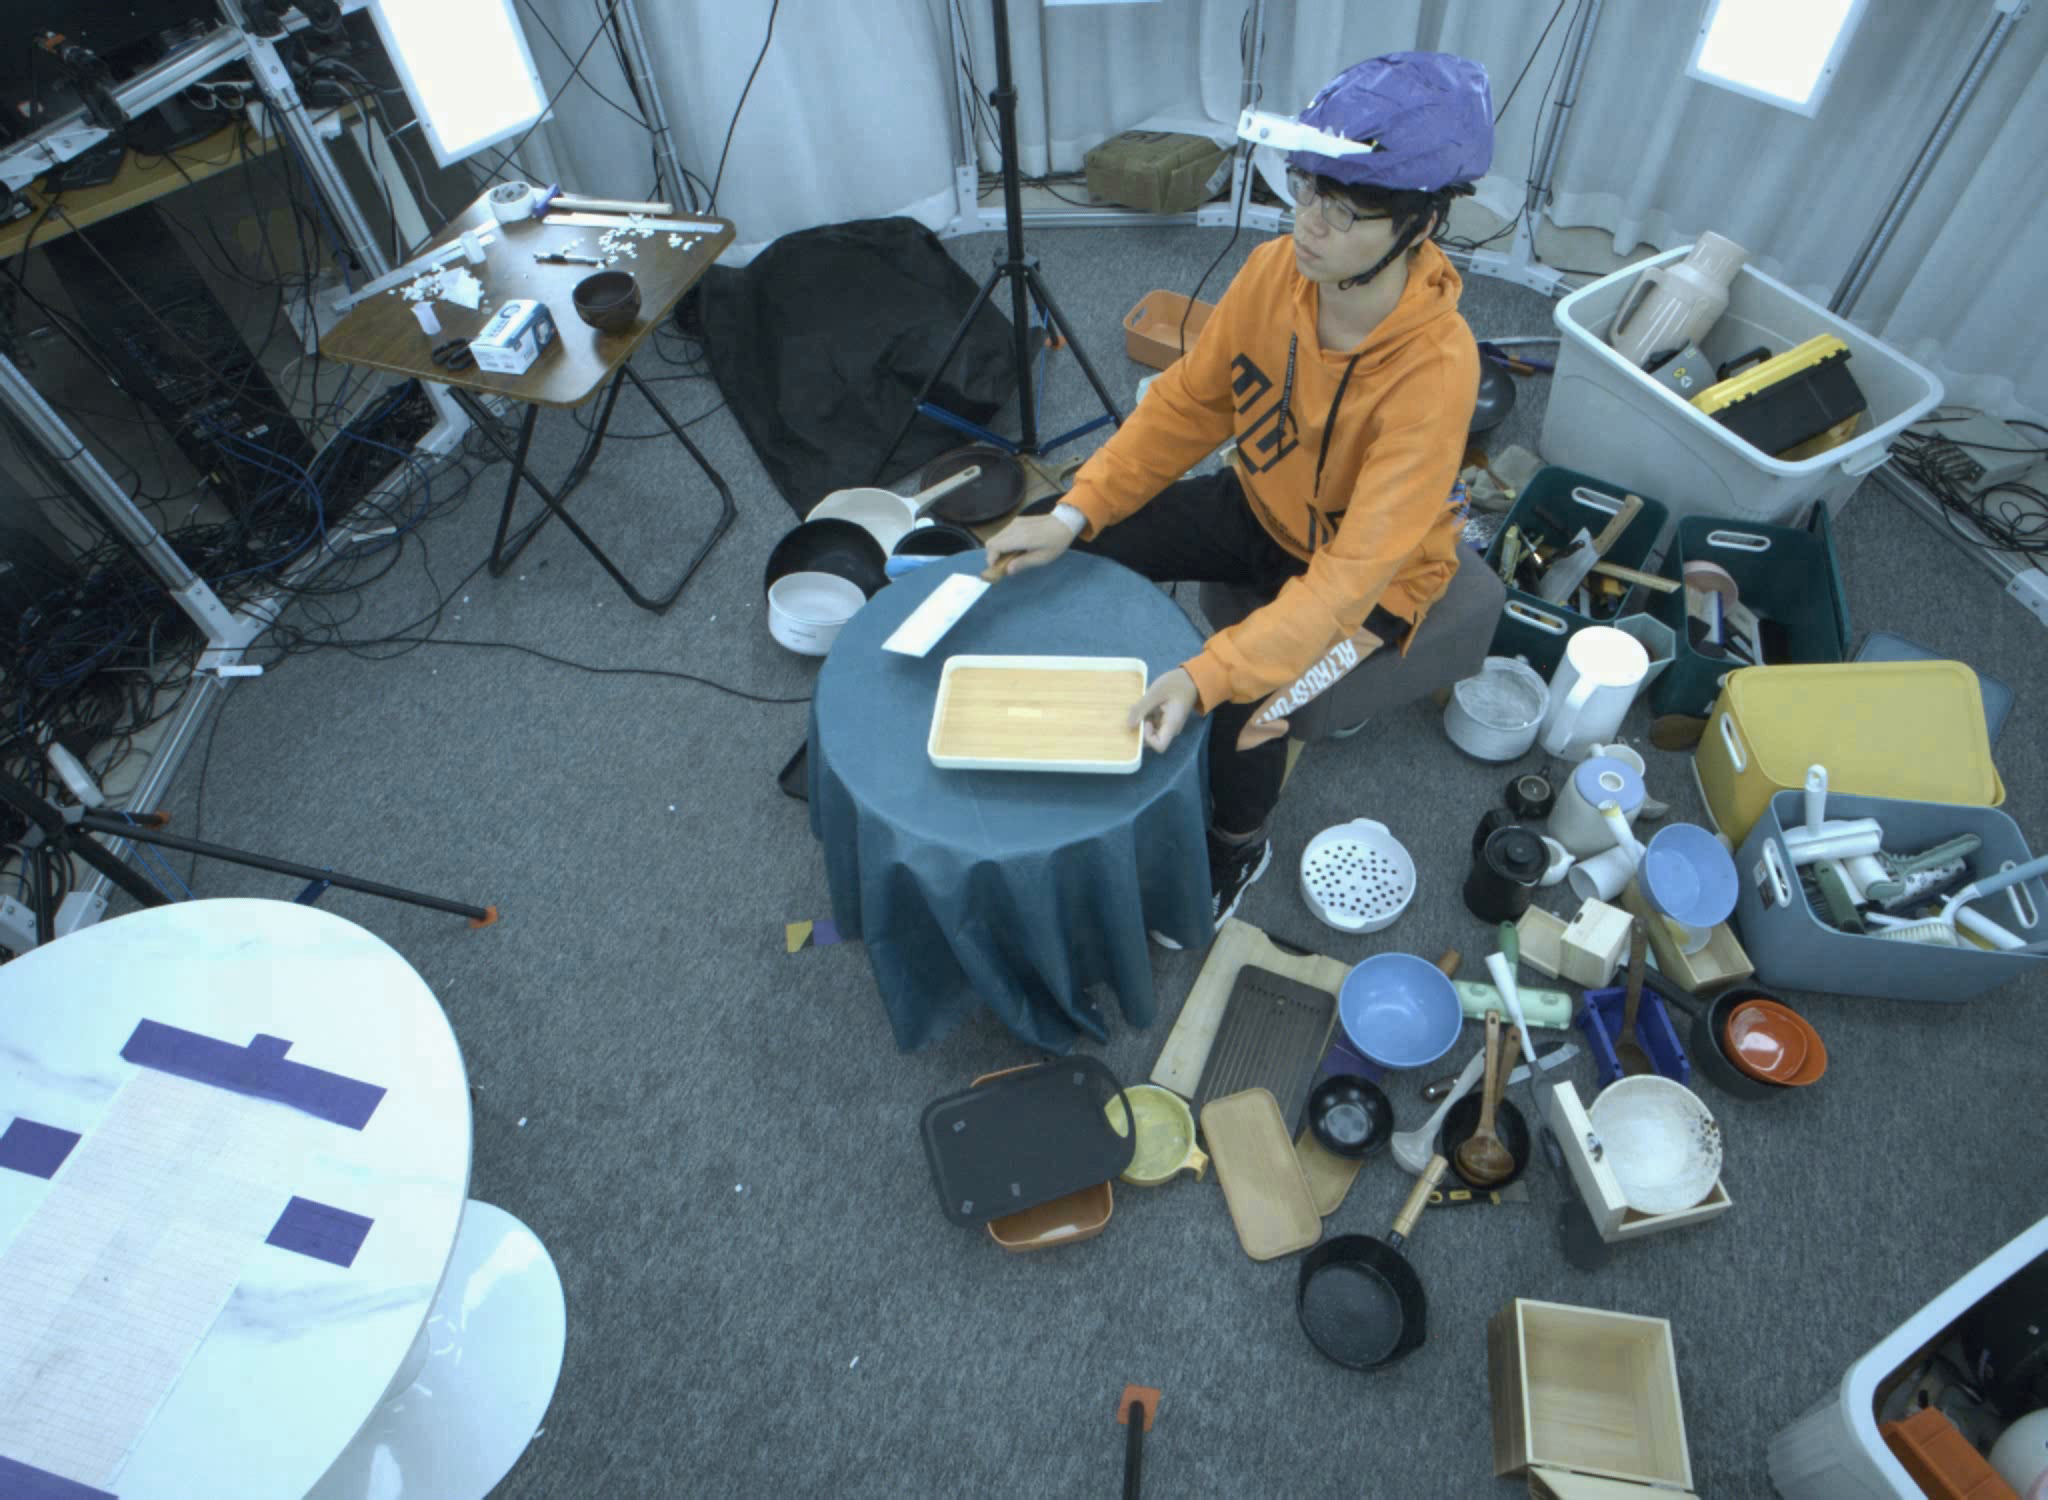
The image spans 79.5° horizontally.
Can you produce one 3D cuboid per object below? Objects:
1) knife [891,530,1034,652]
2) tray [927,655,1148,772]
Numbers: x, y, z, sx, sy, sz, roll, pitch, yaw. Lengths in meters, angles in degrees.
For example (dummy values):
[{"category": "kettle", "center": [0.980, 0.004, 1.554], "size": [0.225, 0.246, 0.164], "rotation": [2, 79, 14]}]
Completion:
[{"category": "knife", "center": [-0.098, -0.250, 1.899], "size": [0.091, 0.021, 0.307], "rotation": [14, 51, 37]}, {"category": "tray", "center": [0.023, -0.054, 1.750], "size": [0.299, 0.028, 0.190], "rotation": [2, 54, 7]}]
